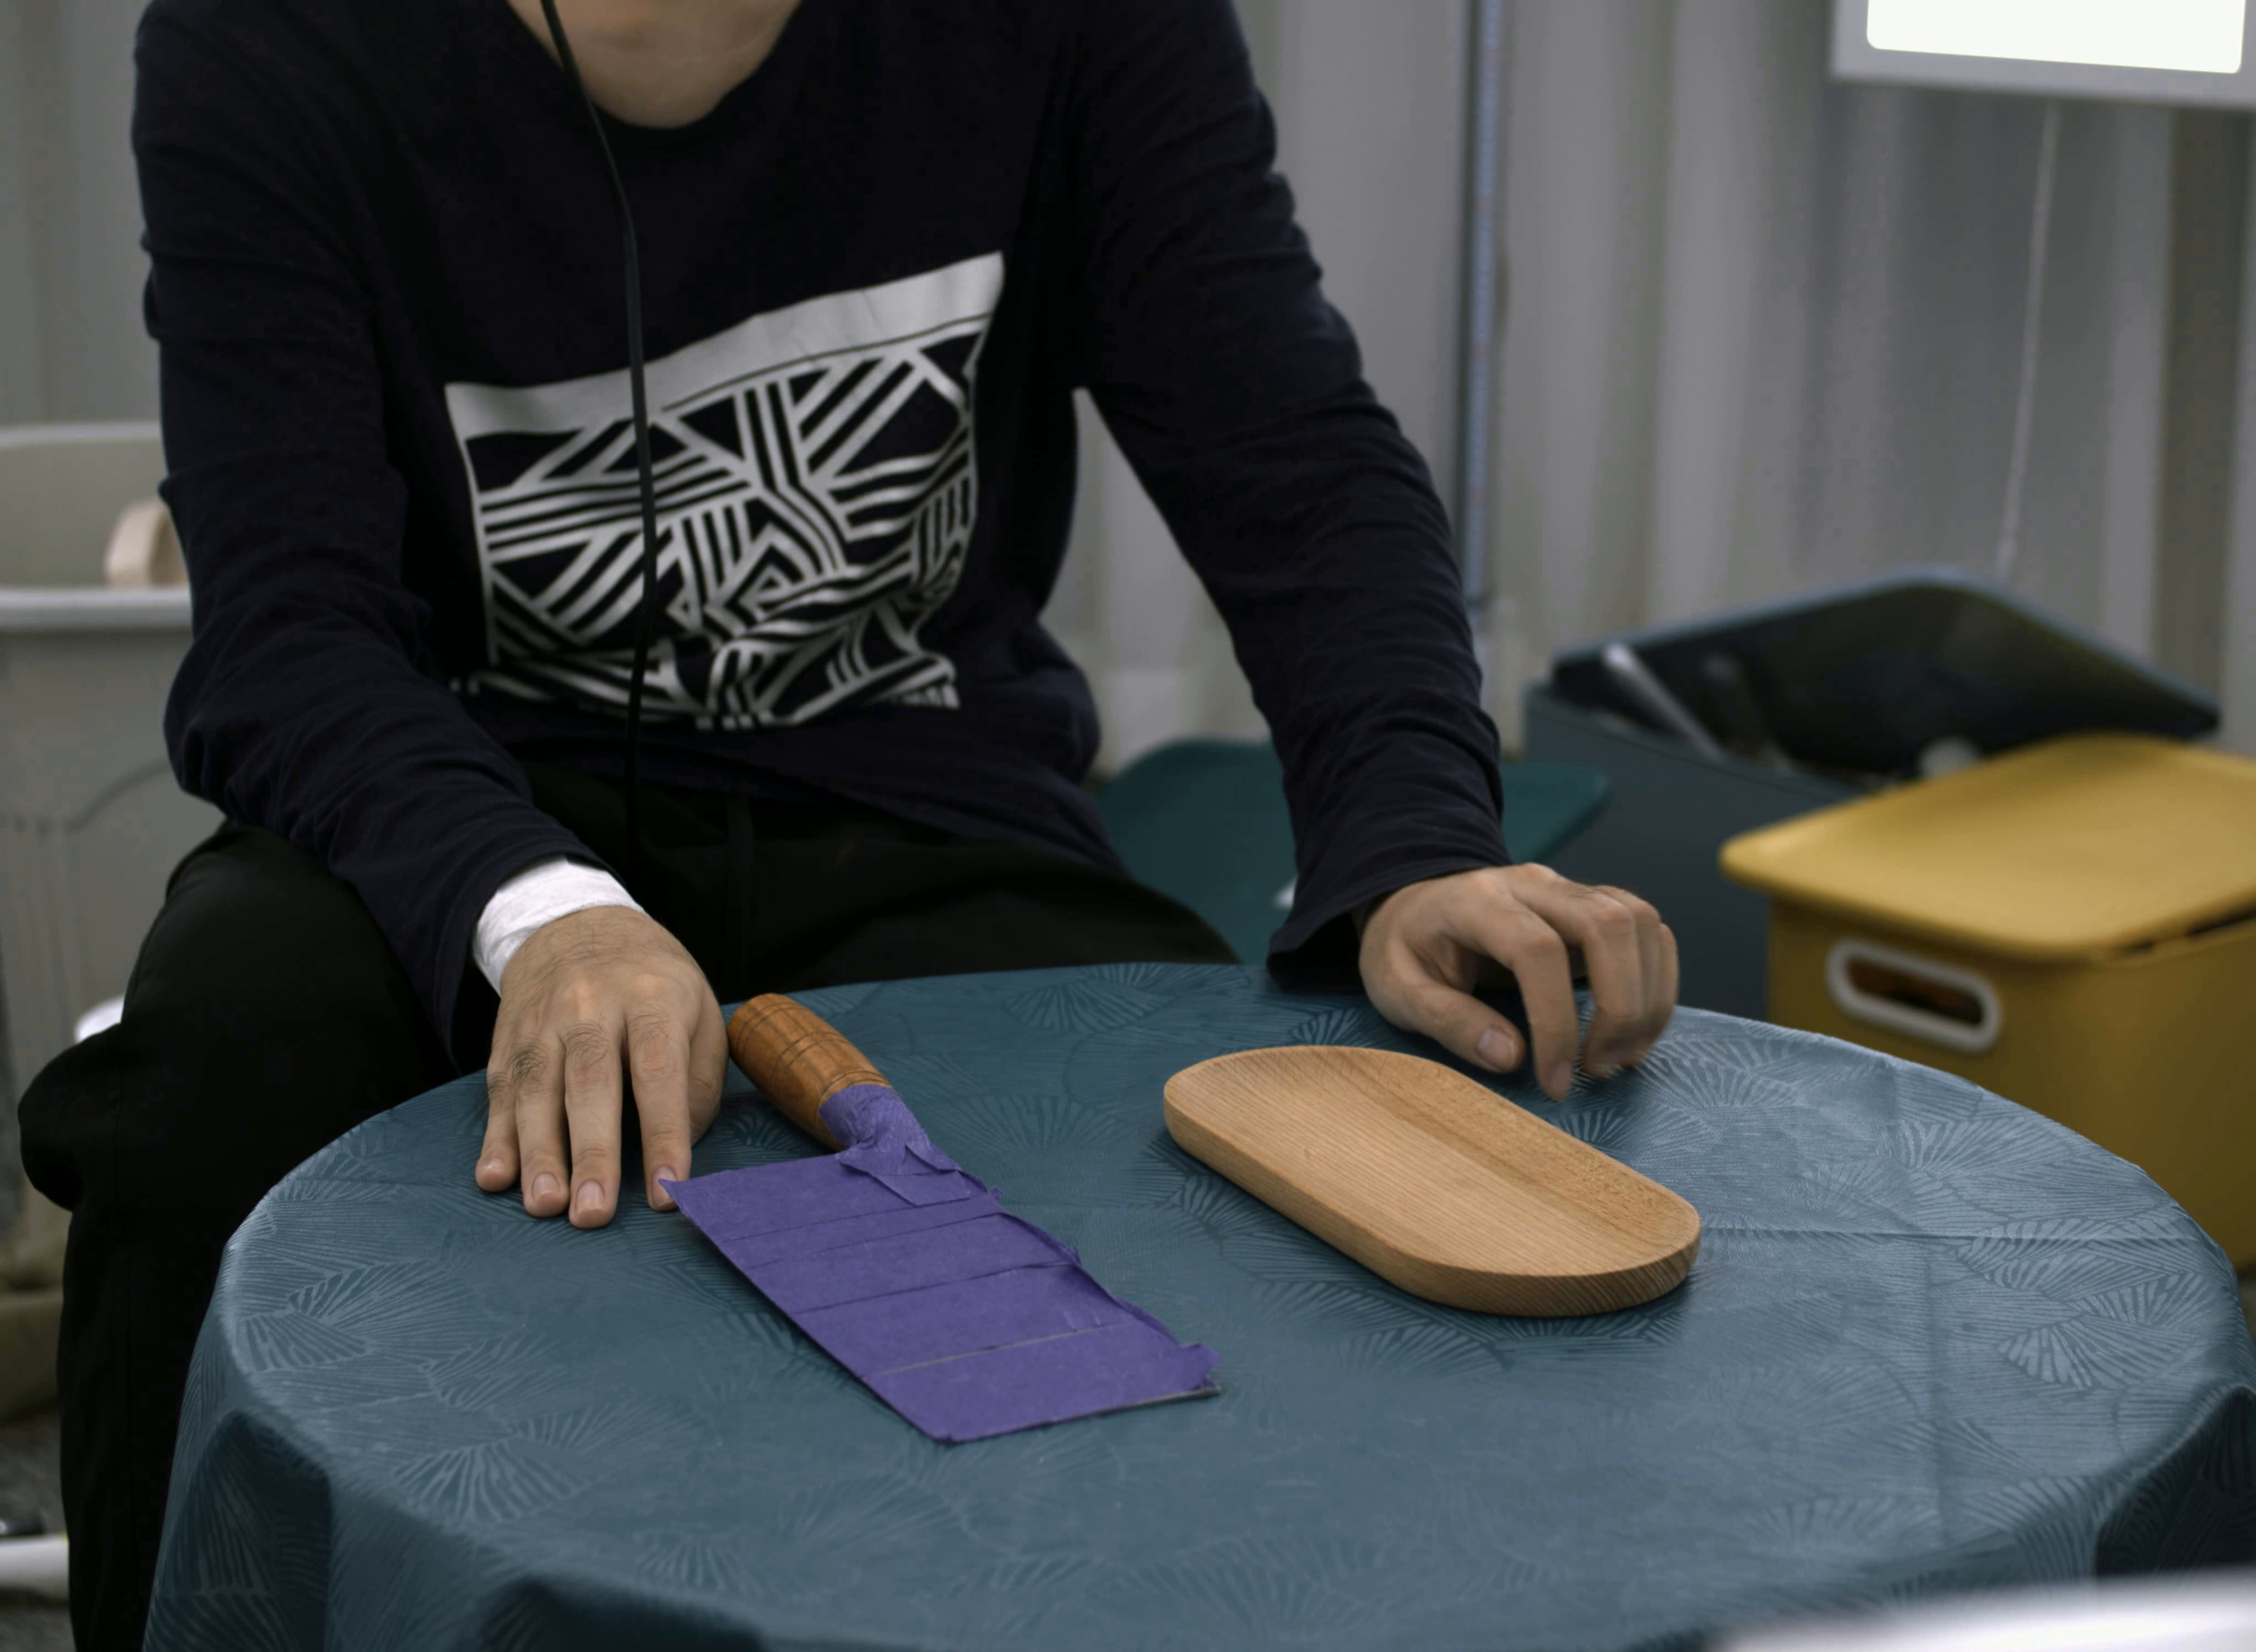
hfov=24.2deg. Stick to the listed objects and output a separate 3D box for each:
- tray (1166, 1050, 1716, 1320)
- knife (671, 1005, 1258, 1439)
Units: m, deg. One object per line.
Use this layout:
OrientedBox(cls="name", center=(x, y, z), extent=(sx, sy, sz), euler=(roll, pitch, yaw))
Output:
OrientedBox(cls="tray", center=(0.093, 0.108, 1.614), extent=(0.102, 0.020, 0.228), euler=(-8, 19, -27))
OrientedBox(cls="knife", center=(-0.078, 0.114, 1.567), extent=(0.104, 0.032, 0.311), euler=(-7, 18, -26))
